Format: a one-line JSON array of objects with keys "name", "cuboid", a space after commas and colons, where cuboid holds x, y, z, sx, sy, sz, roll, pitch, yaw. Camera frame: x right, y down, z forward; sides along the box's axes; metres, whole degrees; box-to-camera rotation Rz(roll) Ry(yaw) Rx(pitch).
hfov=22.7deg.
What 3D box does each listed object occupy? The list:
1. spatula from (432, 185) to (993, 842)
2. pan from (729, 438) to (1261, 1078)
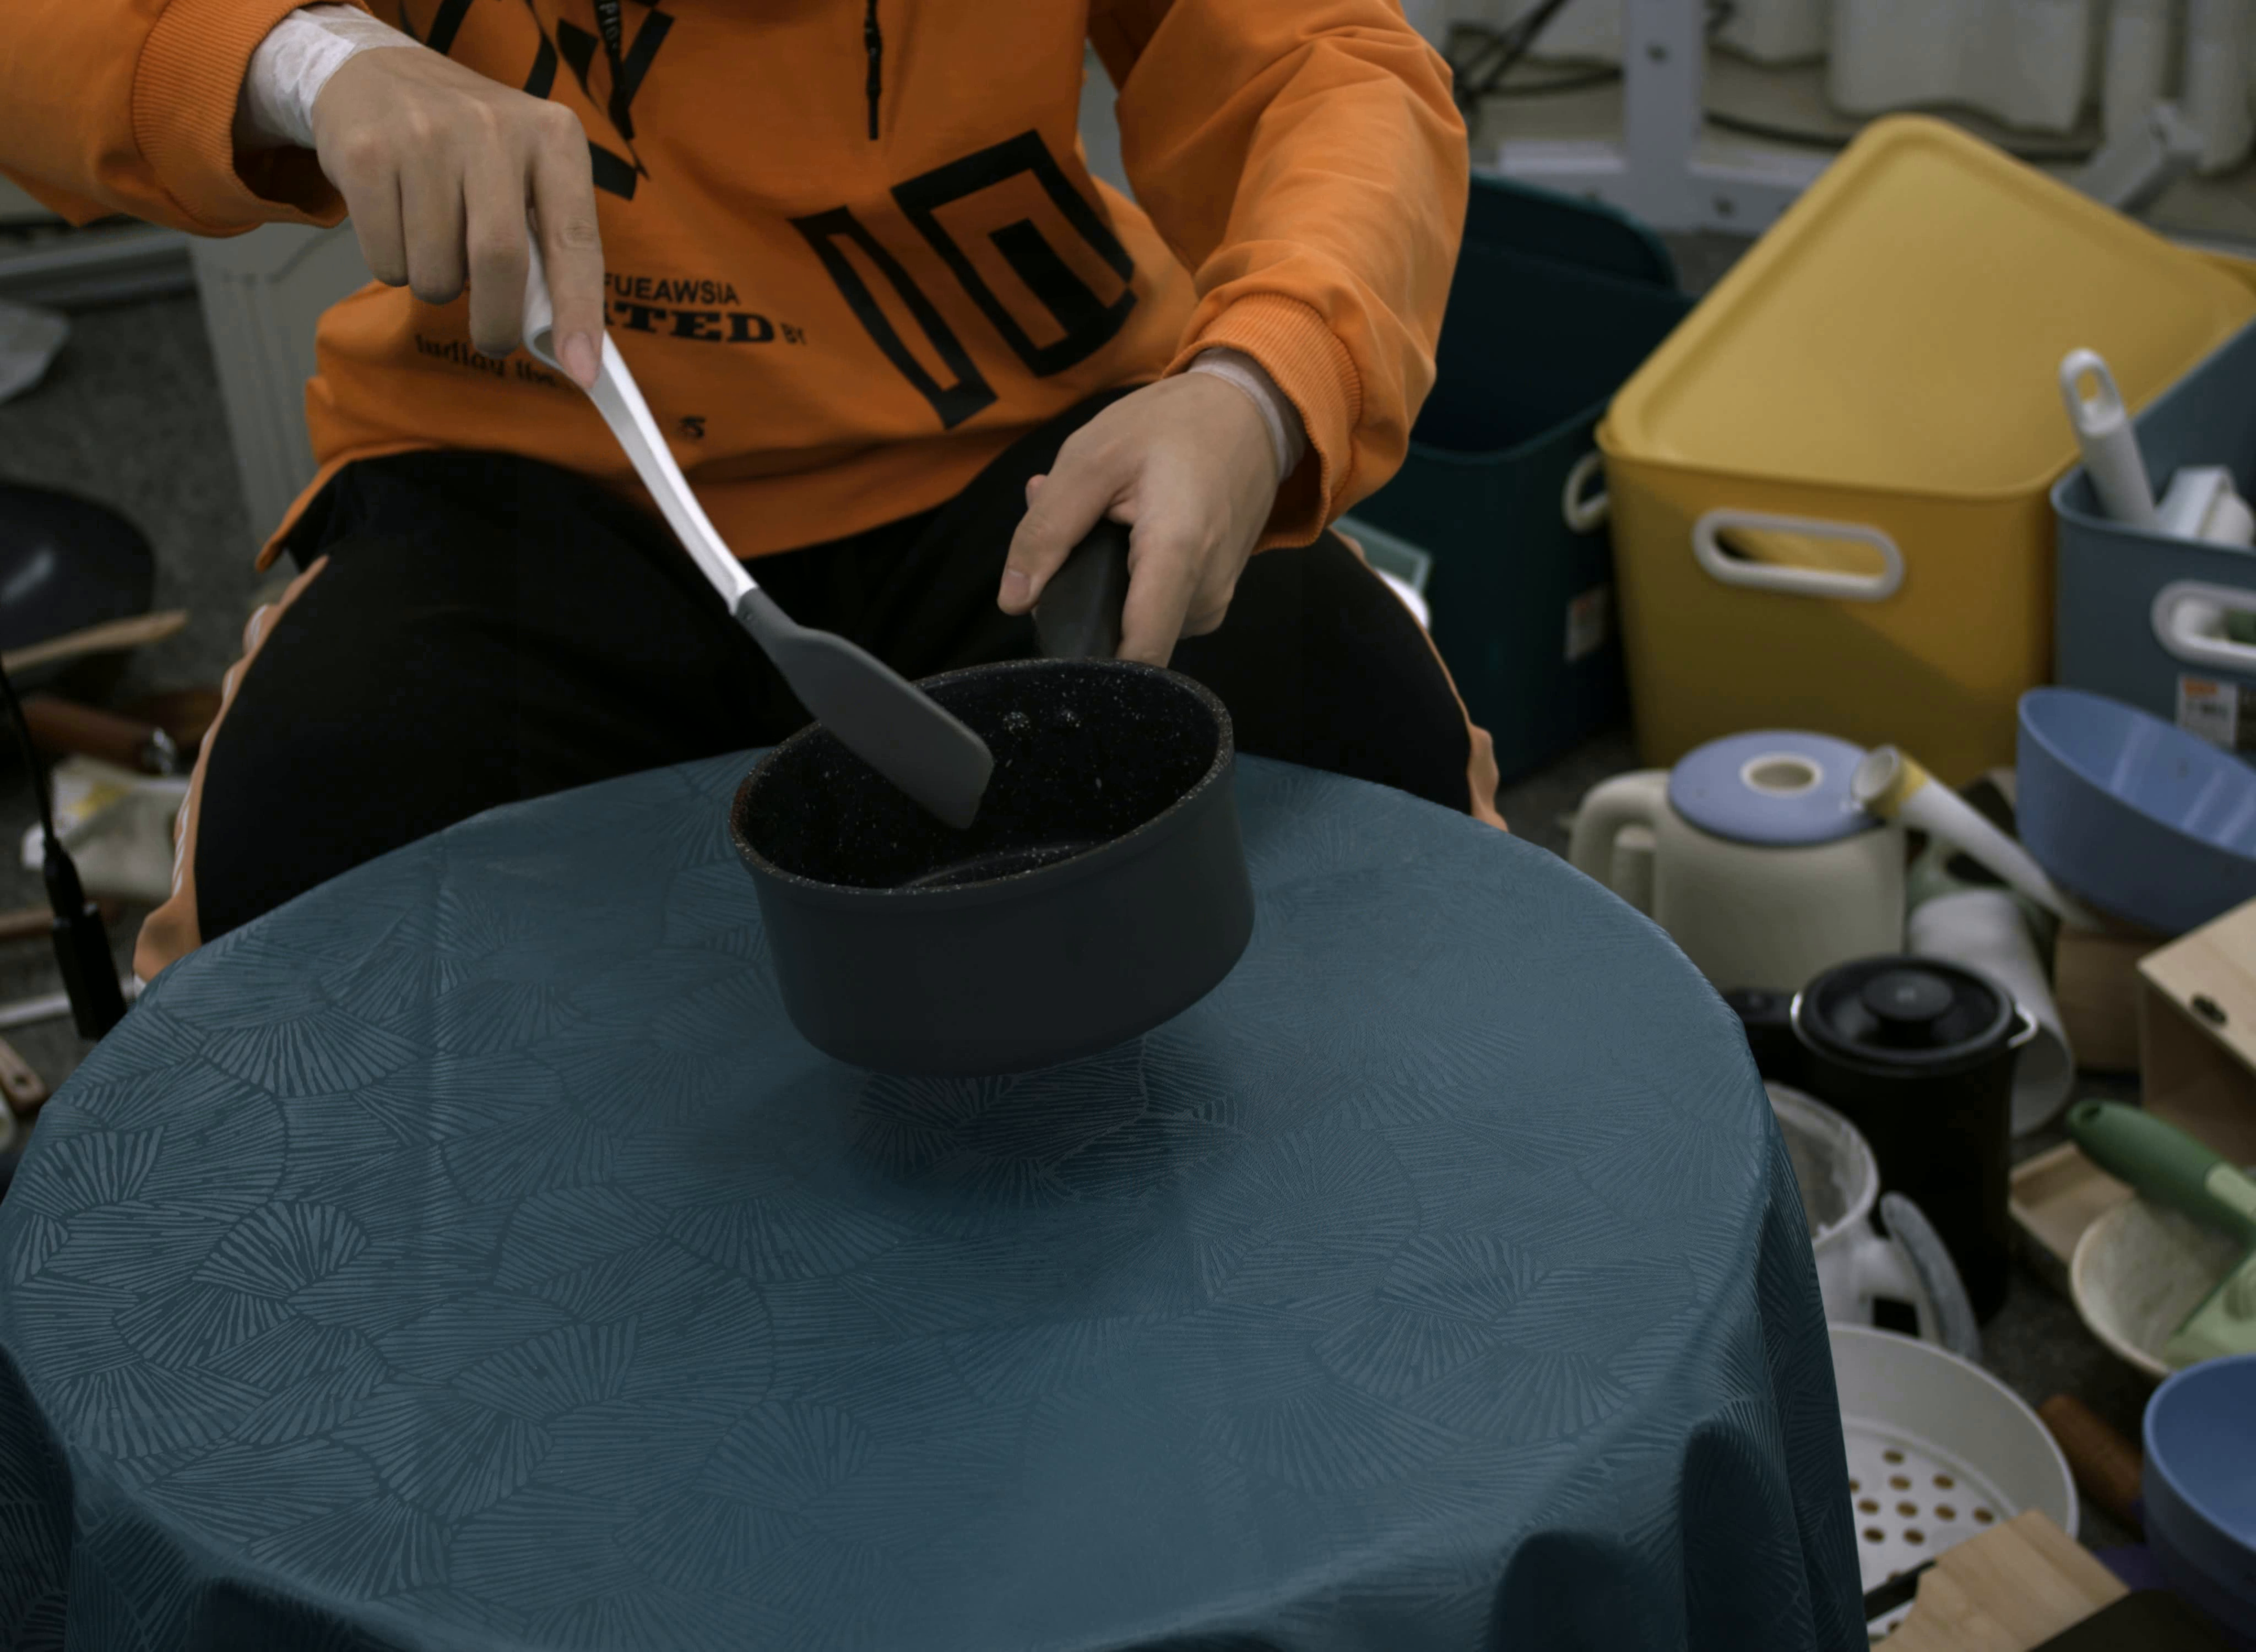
[{"name": "spatula", "cuboid": [-0.143, -0.106, 1.921, 0.032, 0.057, 0.289, -27, 68, -35]}, {"name": "pan", "cuboid": [-0.024, -0.026, 1.950, 0.170, 0.085, 0.334, -2, 28, 17]}]
